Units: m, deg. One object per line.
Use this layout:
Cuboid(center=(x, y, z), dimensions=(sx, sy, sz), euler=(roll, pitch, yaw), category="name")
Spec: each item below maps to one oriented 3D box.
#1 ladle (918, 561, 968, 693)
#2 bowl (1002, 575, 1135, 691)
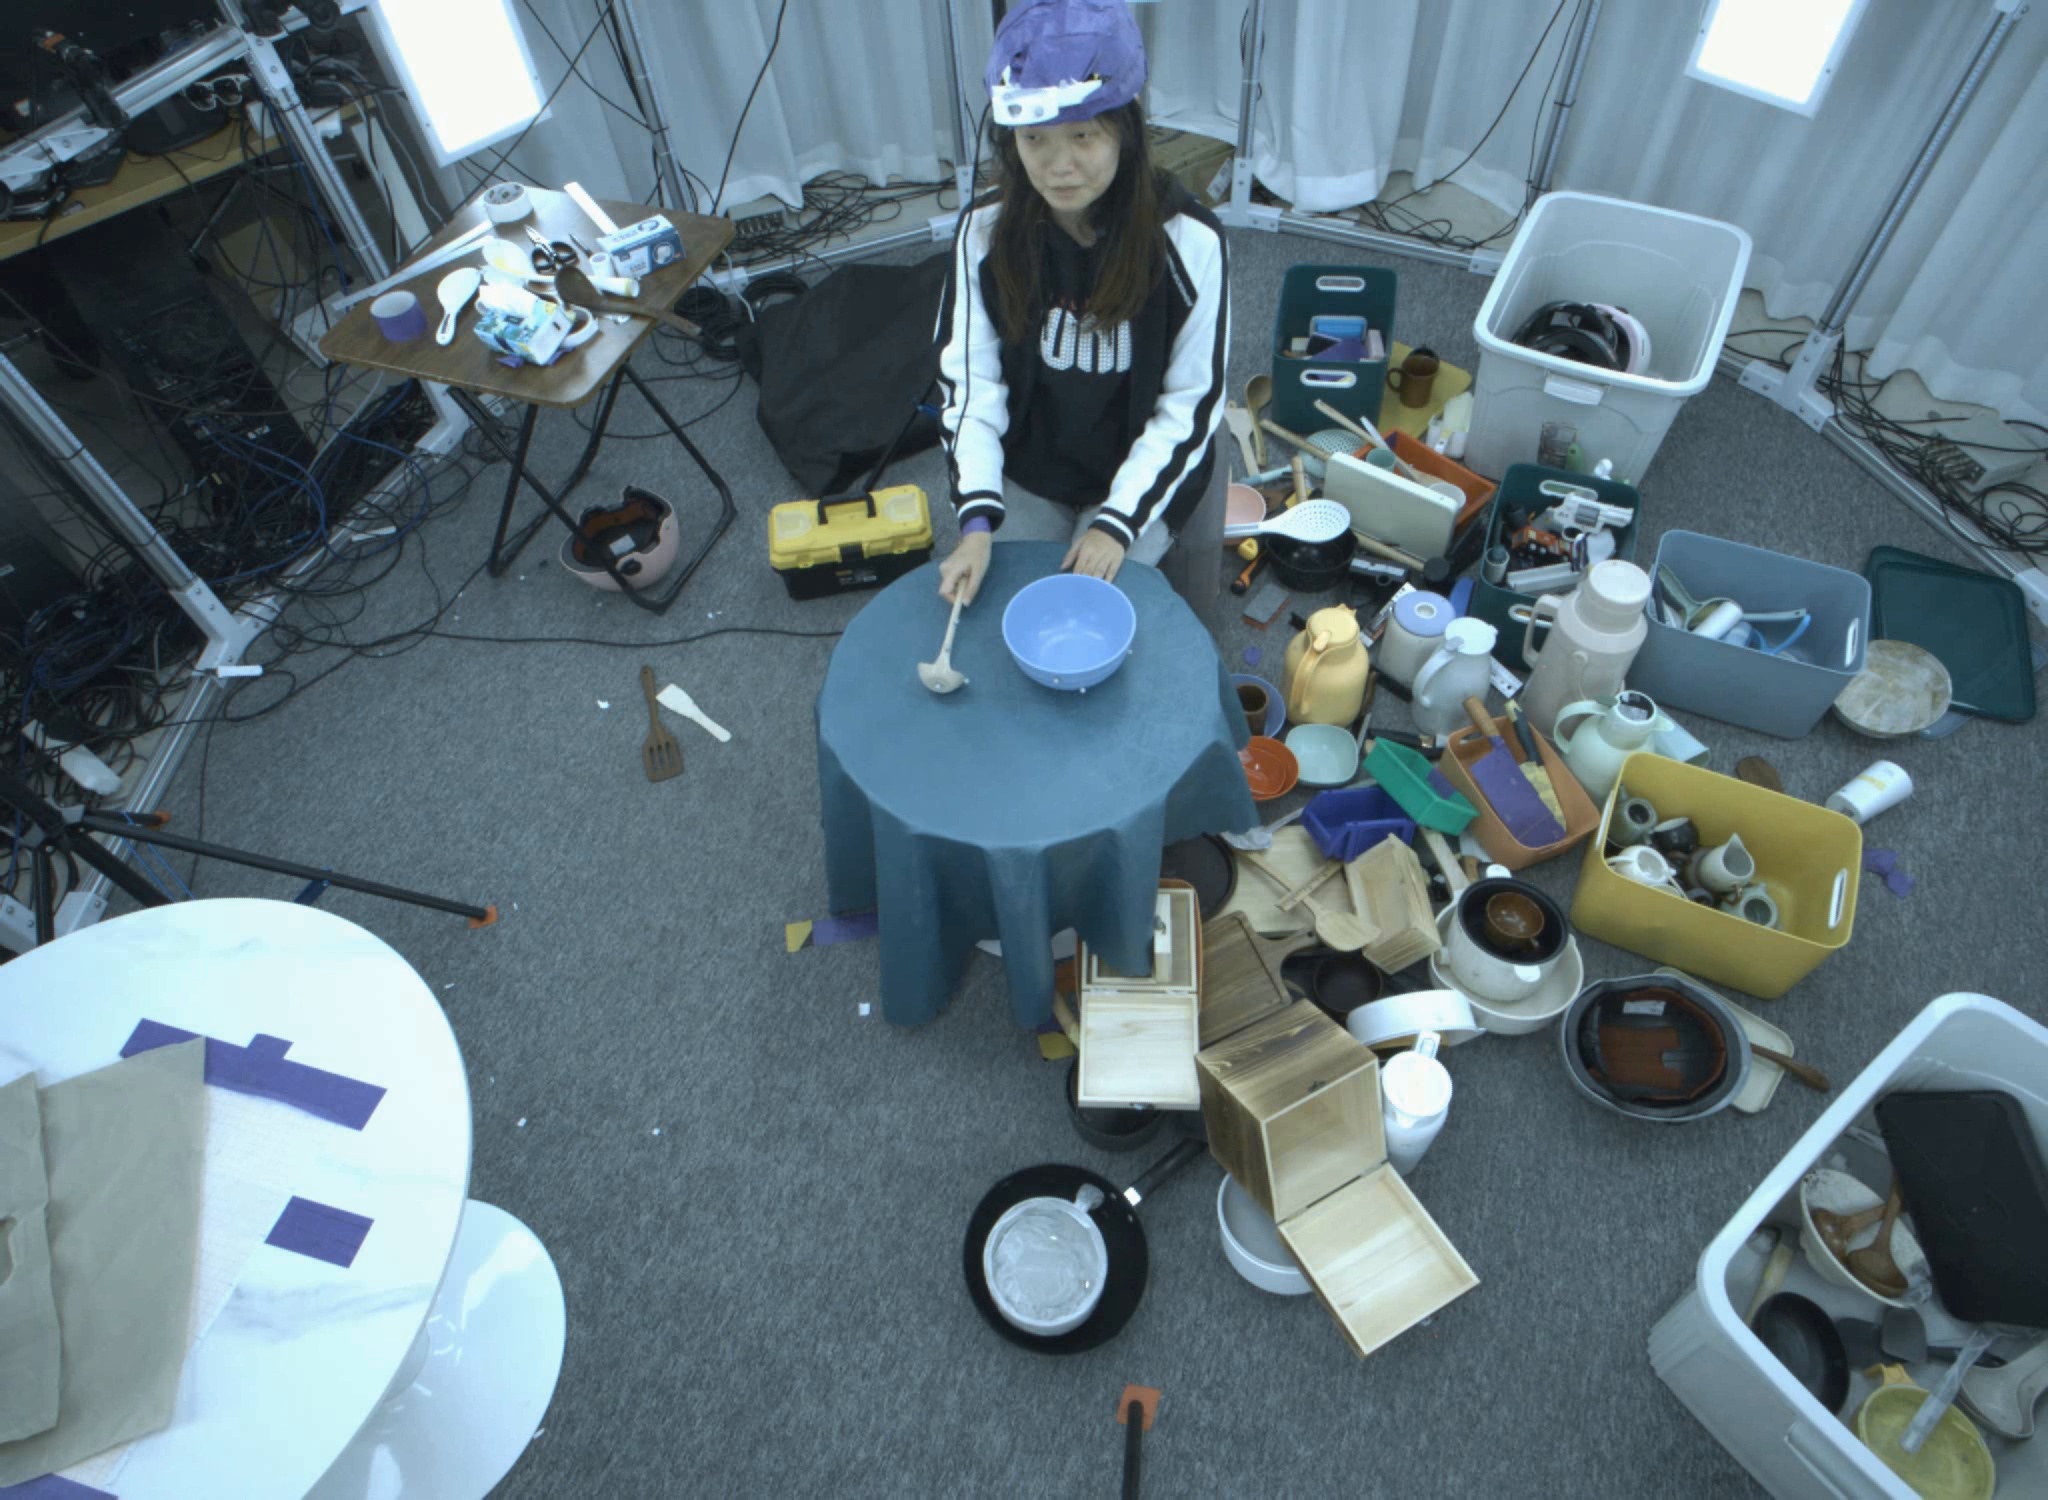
Cuboid(center=(-0.109, -0.205, 1.874), dimensions=(0.072, 0.073, 0.253), euler=(13, 64, -8), category="ladle")
Cuboid(center=(0.069, -0.160, 1.844), dimensions=(0.196, 0.096, 0.194), euler=(-1, 54, 3), category="bowl")
